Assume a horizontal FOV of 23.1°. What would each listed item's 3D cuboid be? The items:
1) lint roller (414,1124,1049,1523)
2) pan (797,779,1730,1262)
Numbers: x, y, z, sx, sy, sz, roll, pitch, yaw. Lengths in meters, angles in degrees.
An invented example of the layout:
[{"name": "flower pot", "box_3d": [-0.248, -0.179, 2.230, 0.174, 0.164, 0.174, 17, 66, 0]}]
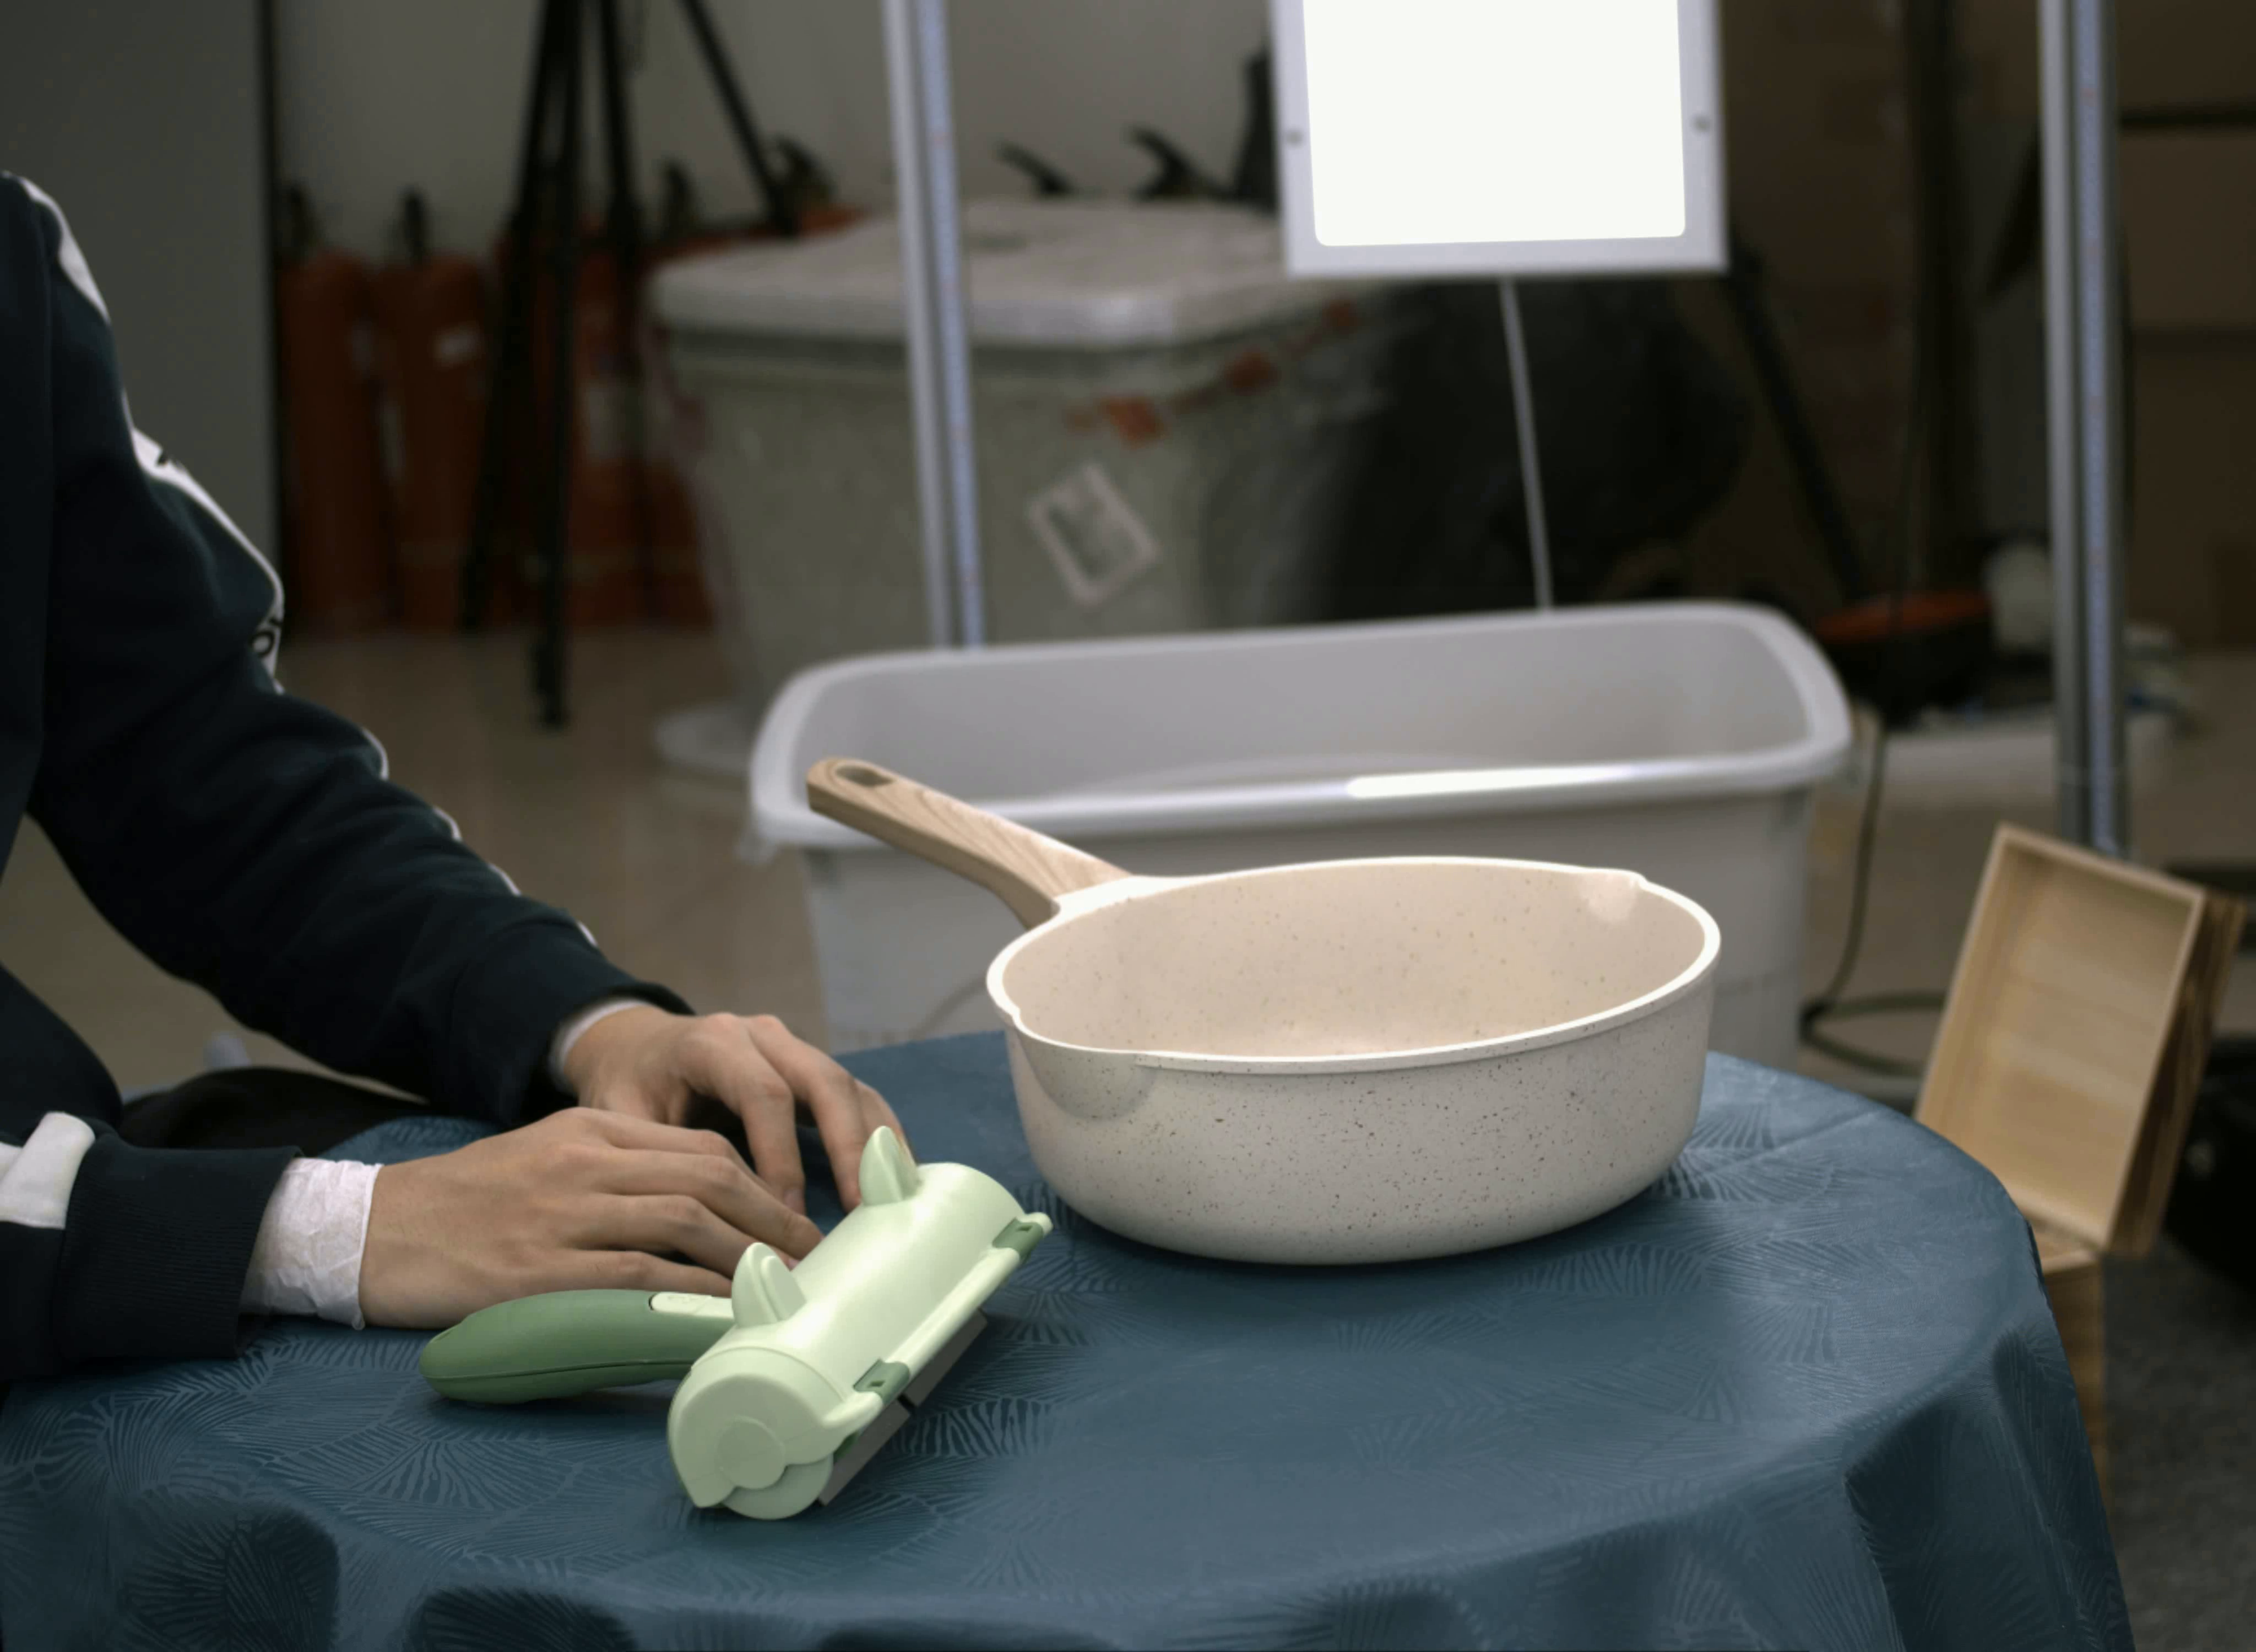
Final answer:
[{"name": "lint roller", "box_3d": [-0.137, 0.144, 1.713, 0.185, 0.082, 0.195, 5, 16, 17]}, {"name": "pan", "box_3d": [0.025, 0.060, 1.949, 0.257, 0.102, 0.444, -17, 18, -35]}]
